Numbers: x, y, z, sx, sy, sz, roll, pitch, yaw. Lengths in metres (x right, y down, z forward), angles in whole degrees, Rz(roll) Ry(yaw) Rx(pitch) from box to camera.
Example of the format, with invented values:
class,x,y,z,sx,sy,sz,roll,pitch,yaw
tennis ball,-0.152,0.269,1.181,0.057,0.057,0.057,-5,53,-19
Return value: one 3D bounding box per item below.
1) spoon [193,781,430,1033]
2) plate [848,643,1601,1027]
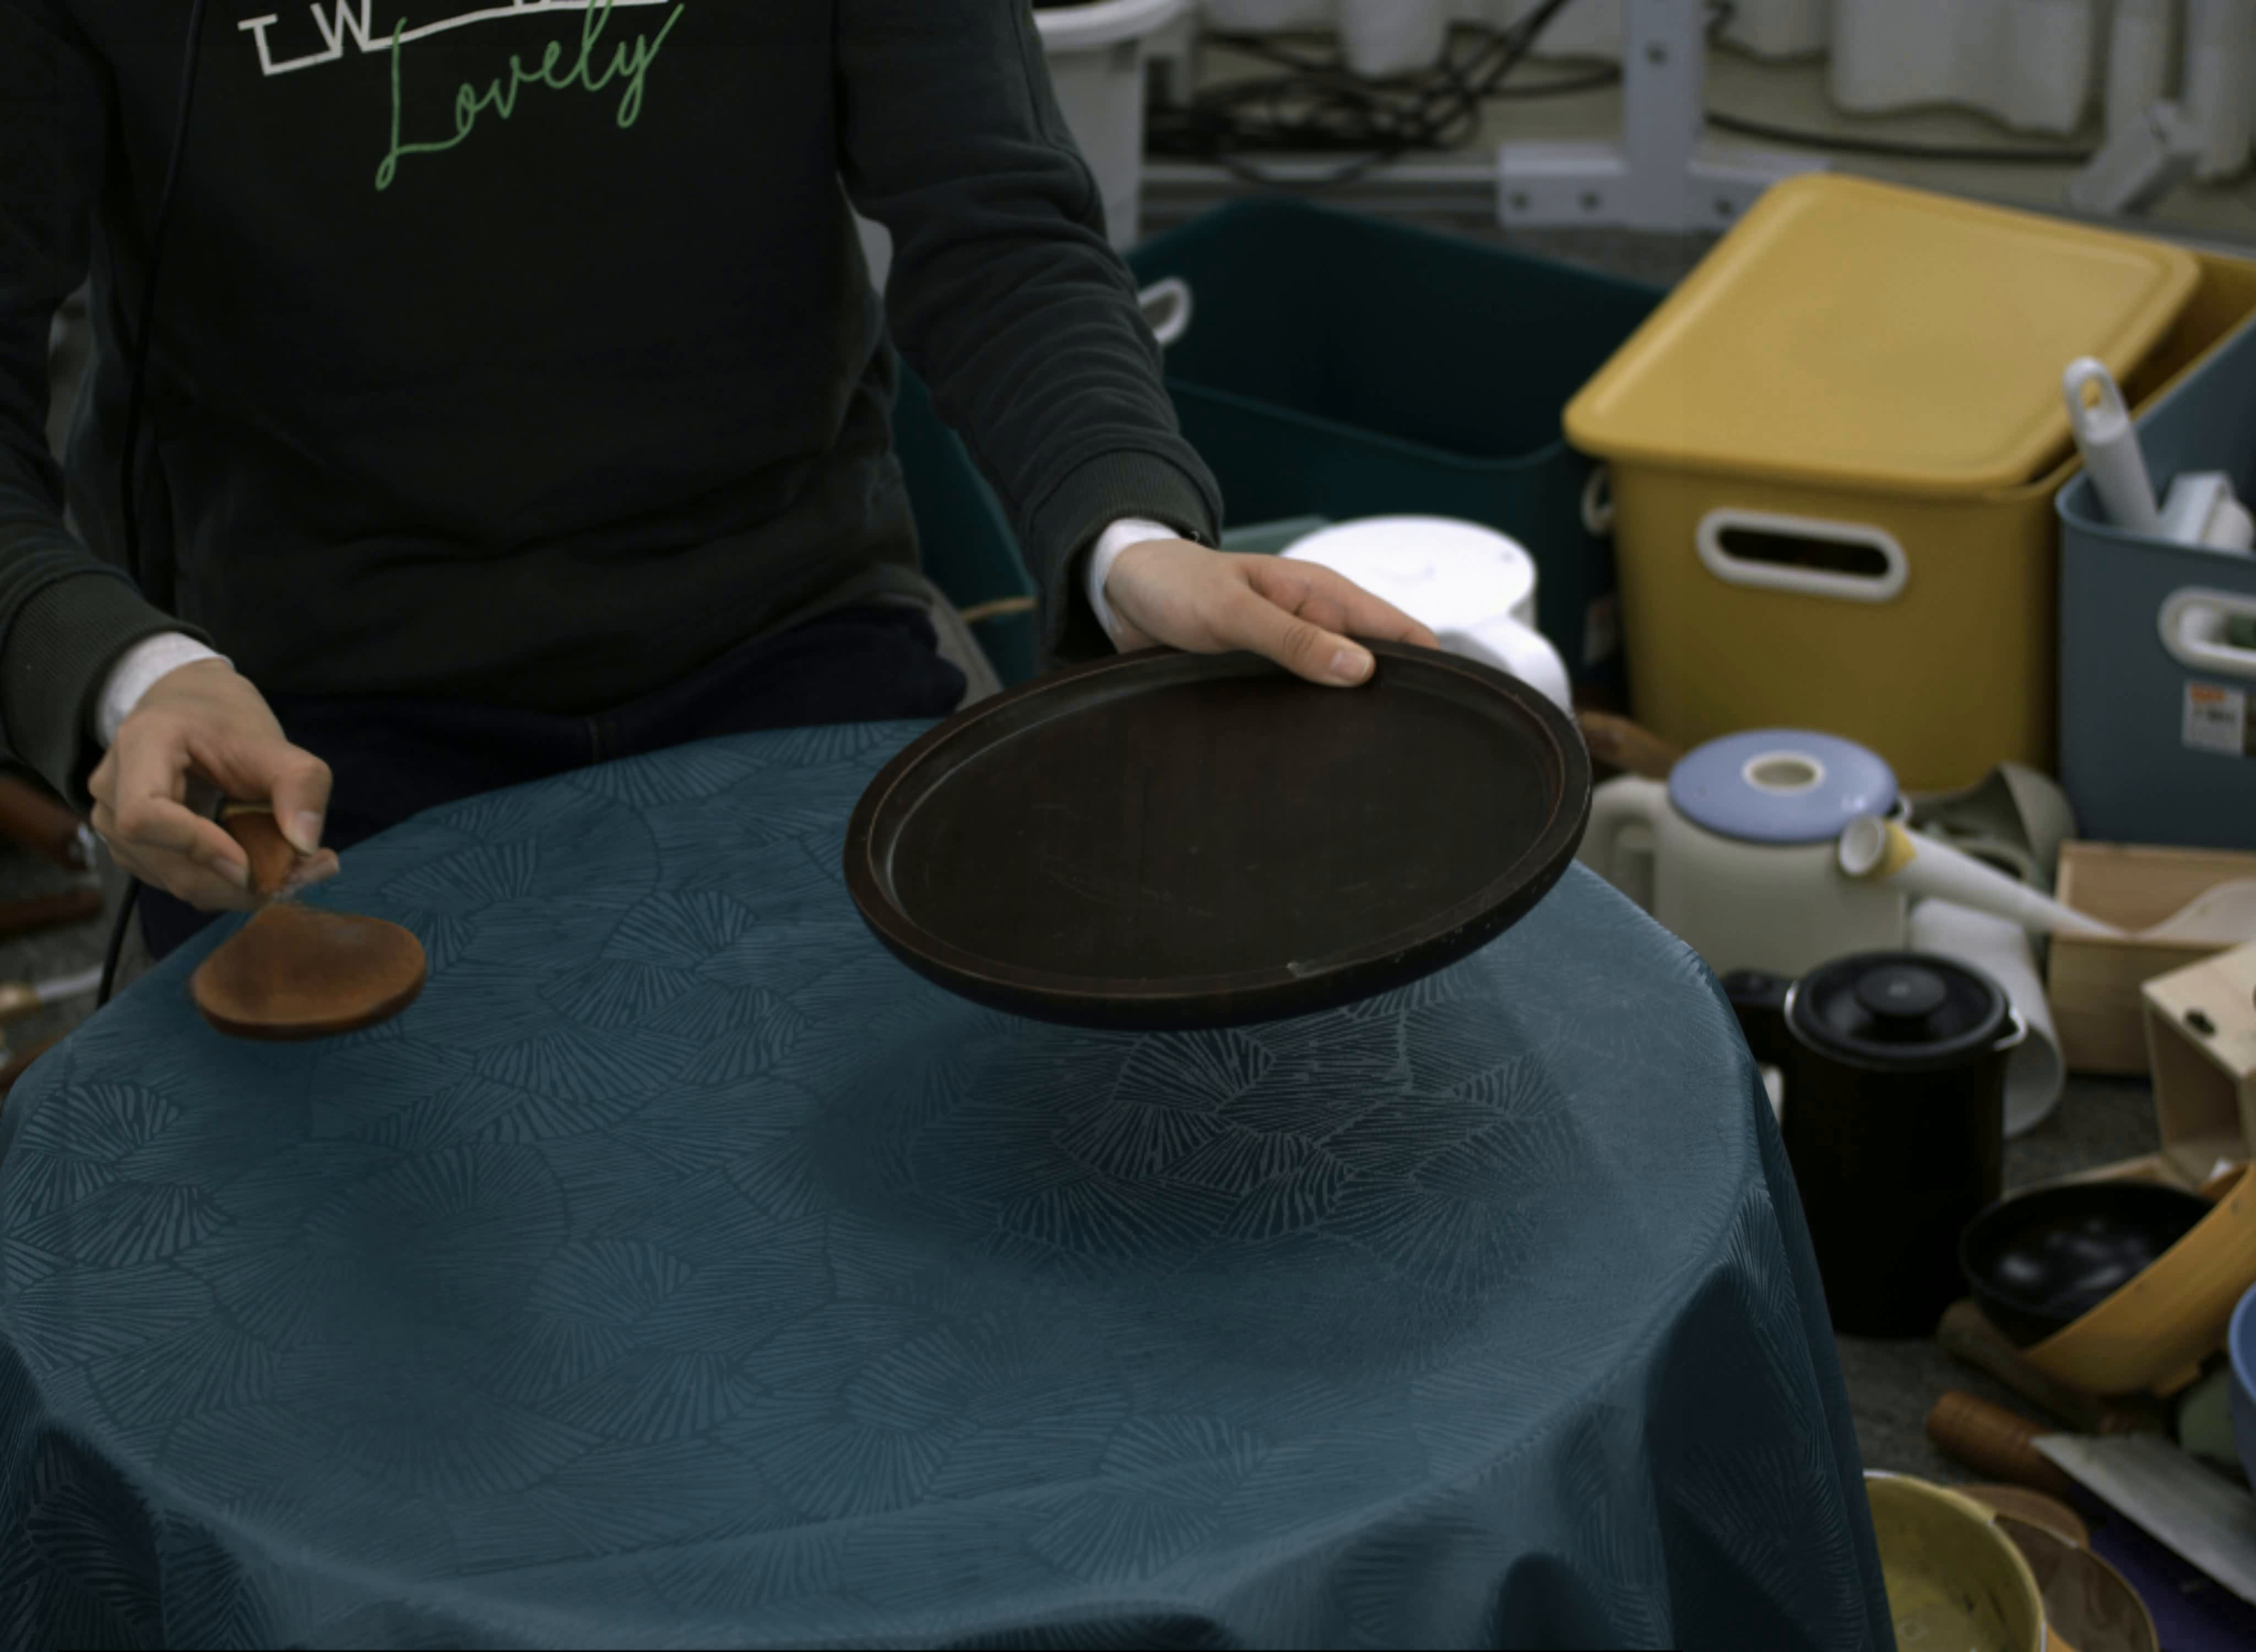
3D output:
class,x,y,z,sx,sy,sz,roll,pitch,yaw
spoon,-0.274,0.028,1.831,0.075,0.017,0.217,-11,22,-13
plate,0.032,0.001,1.876,0.253,0.029,0.259,-5,28,3
